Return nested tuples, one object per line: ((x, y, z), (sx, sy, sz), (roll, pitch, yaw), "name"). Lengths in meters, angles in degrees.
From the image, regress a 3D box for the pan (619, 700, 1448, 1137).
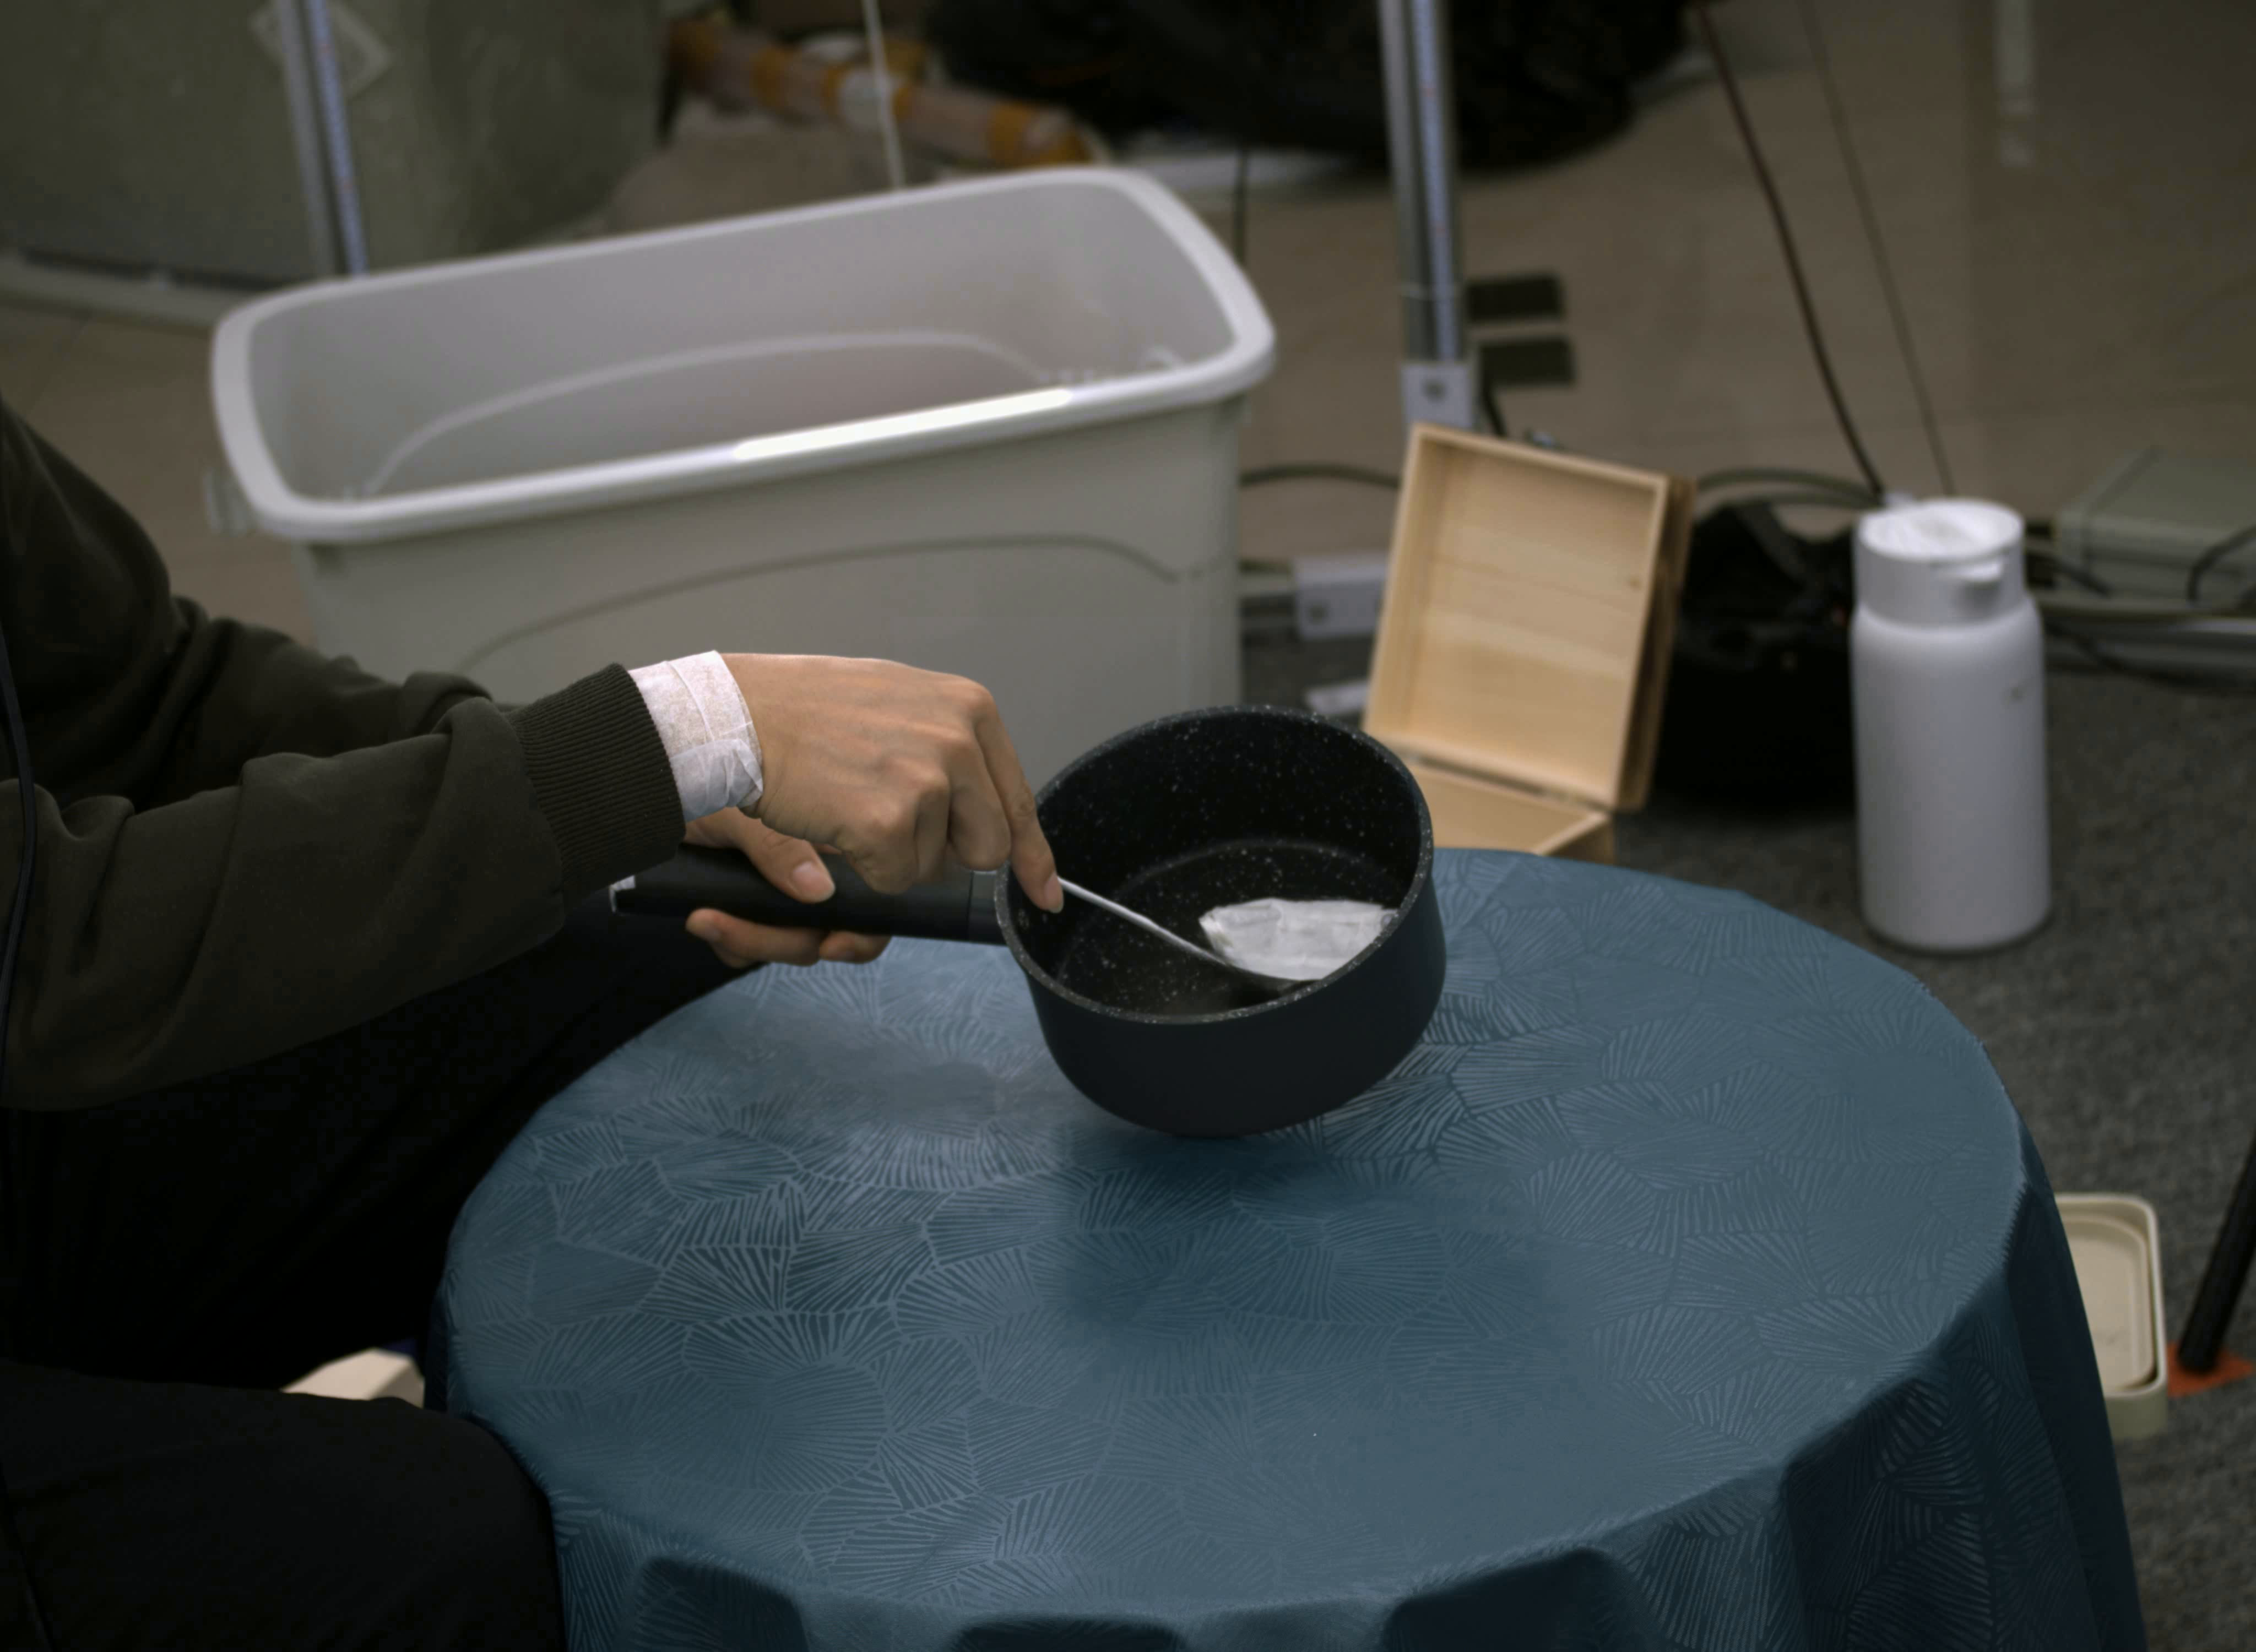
((-0.037, 0.036, 2.228), (0.328, 0.088, 0.169), (1, 46, 15), "pan")

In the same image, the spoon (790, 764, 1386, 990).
((-0.009, 0.007, 2.156), (0.279, 0.059, 0.100), (26, -4, -32), "spoon")
